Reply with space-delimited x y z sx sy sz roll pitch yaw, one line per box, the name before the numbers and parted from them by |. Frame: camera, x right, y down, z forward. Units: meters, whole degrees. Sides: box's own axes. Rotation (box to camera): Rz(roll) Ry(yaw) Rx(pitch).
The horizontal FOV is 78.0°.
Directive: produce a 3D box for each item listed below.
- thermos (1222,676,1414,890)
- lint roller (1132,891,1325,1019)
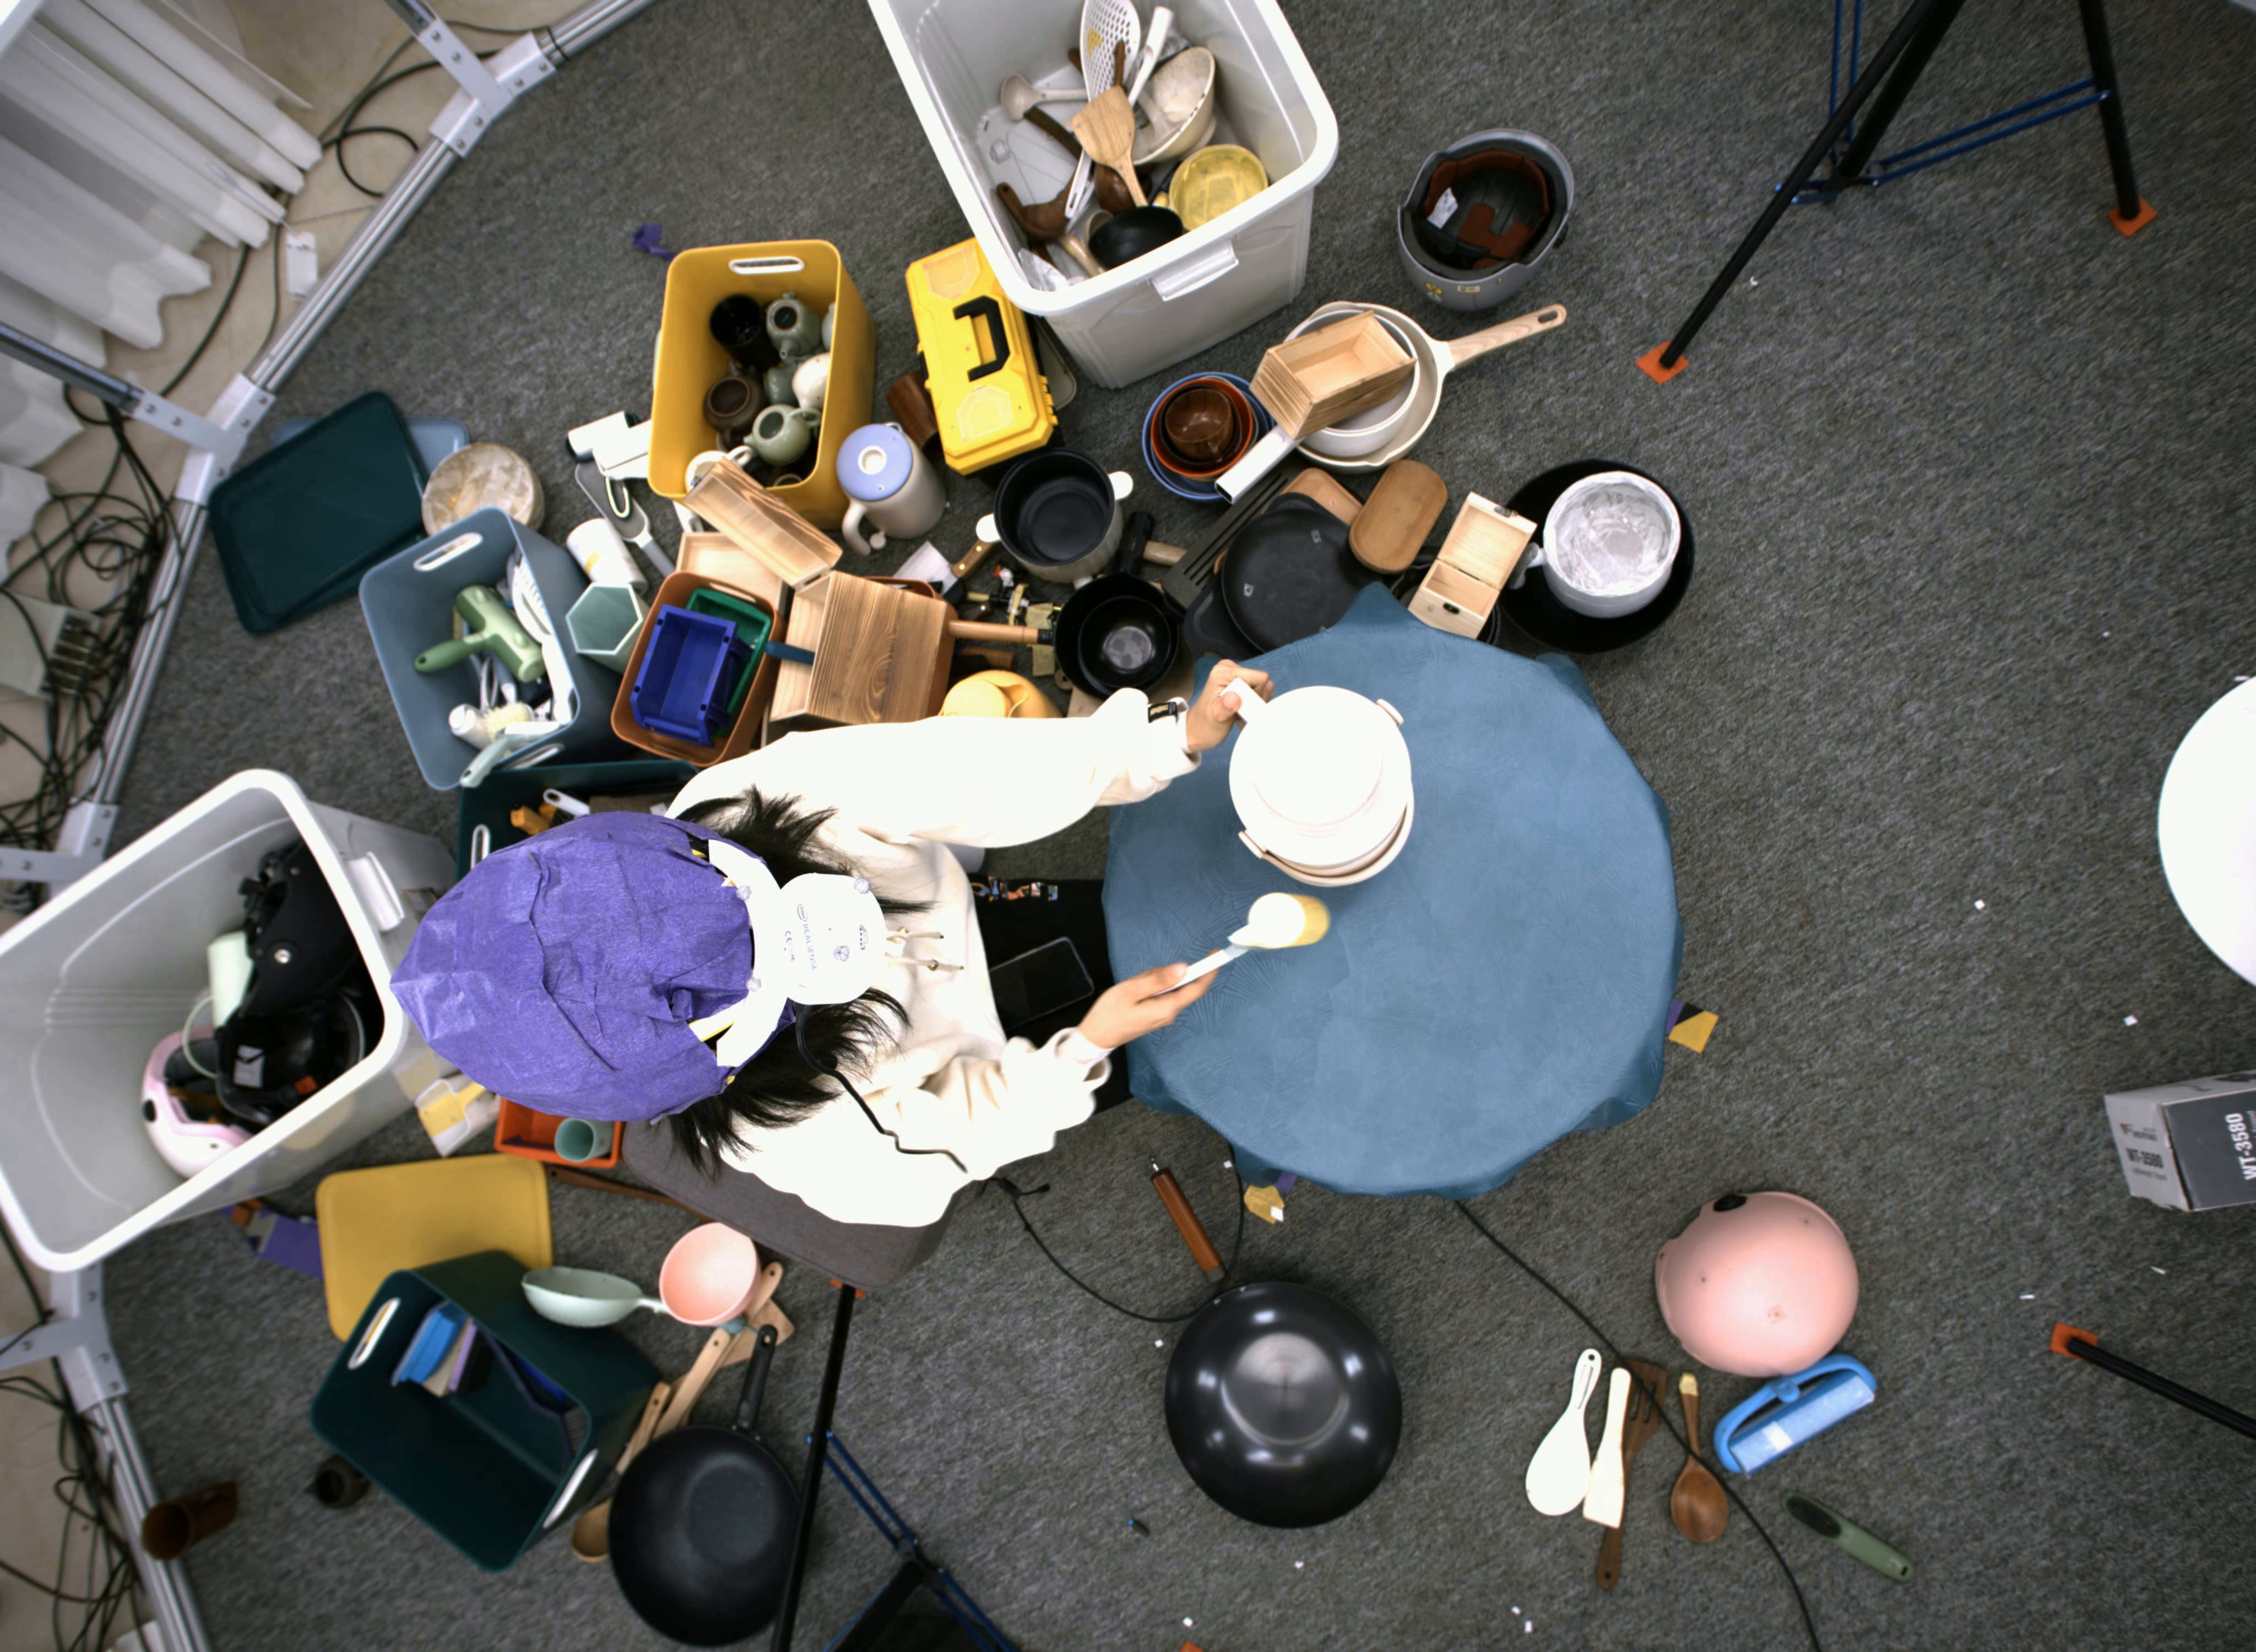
thermos | 0.173 -0.045 1.284 0.176 0.407 0.206 -44 79 4
lint roller | 0.089 0.129 1.277 0.194 0.174 0.051 -42 76 12
